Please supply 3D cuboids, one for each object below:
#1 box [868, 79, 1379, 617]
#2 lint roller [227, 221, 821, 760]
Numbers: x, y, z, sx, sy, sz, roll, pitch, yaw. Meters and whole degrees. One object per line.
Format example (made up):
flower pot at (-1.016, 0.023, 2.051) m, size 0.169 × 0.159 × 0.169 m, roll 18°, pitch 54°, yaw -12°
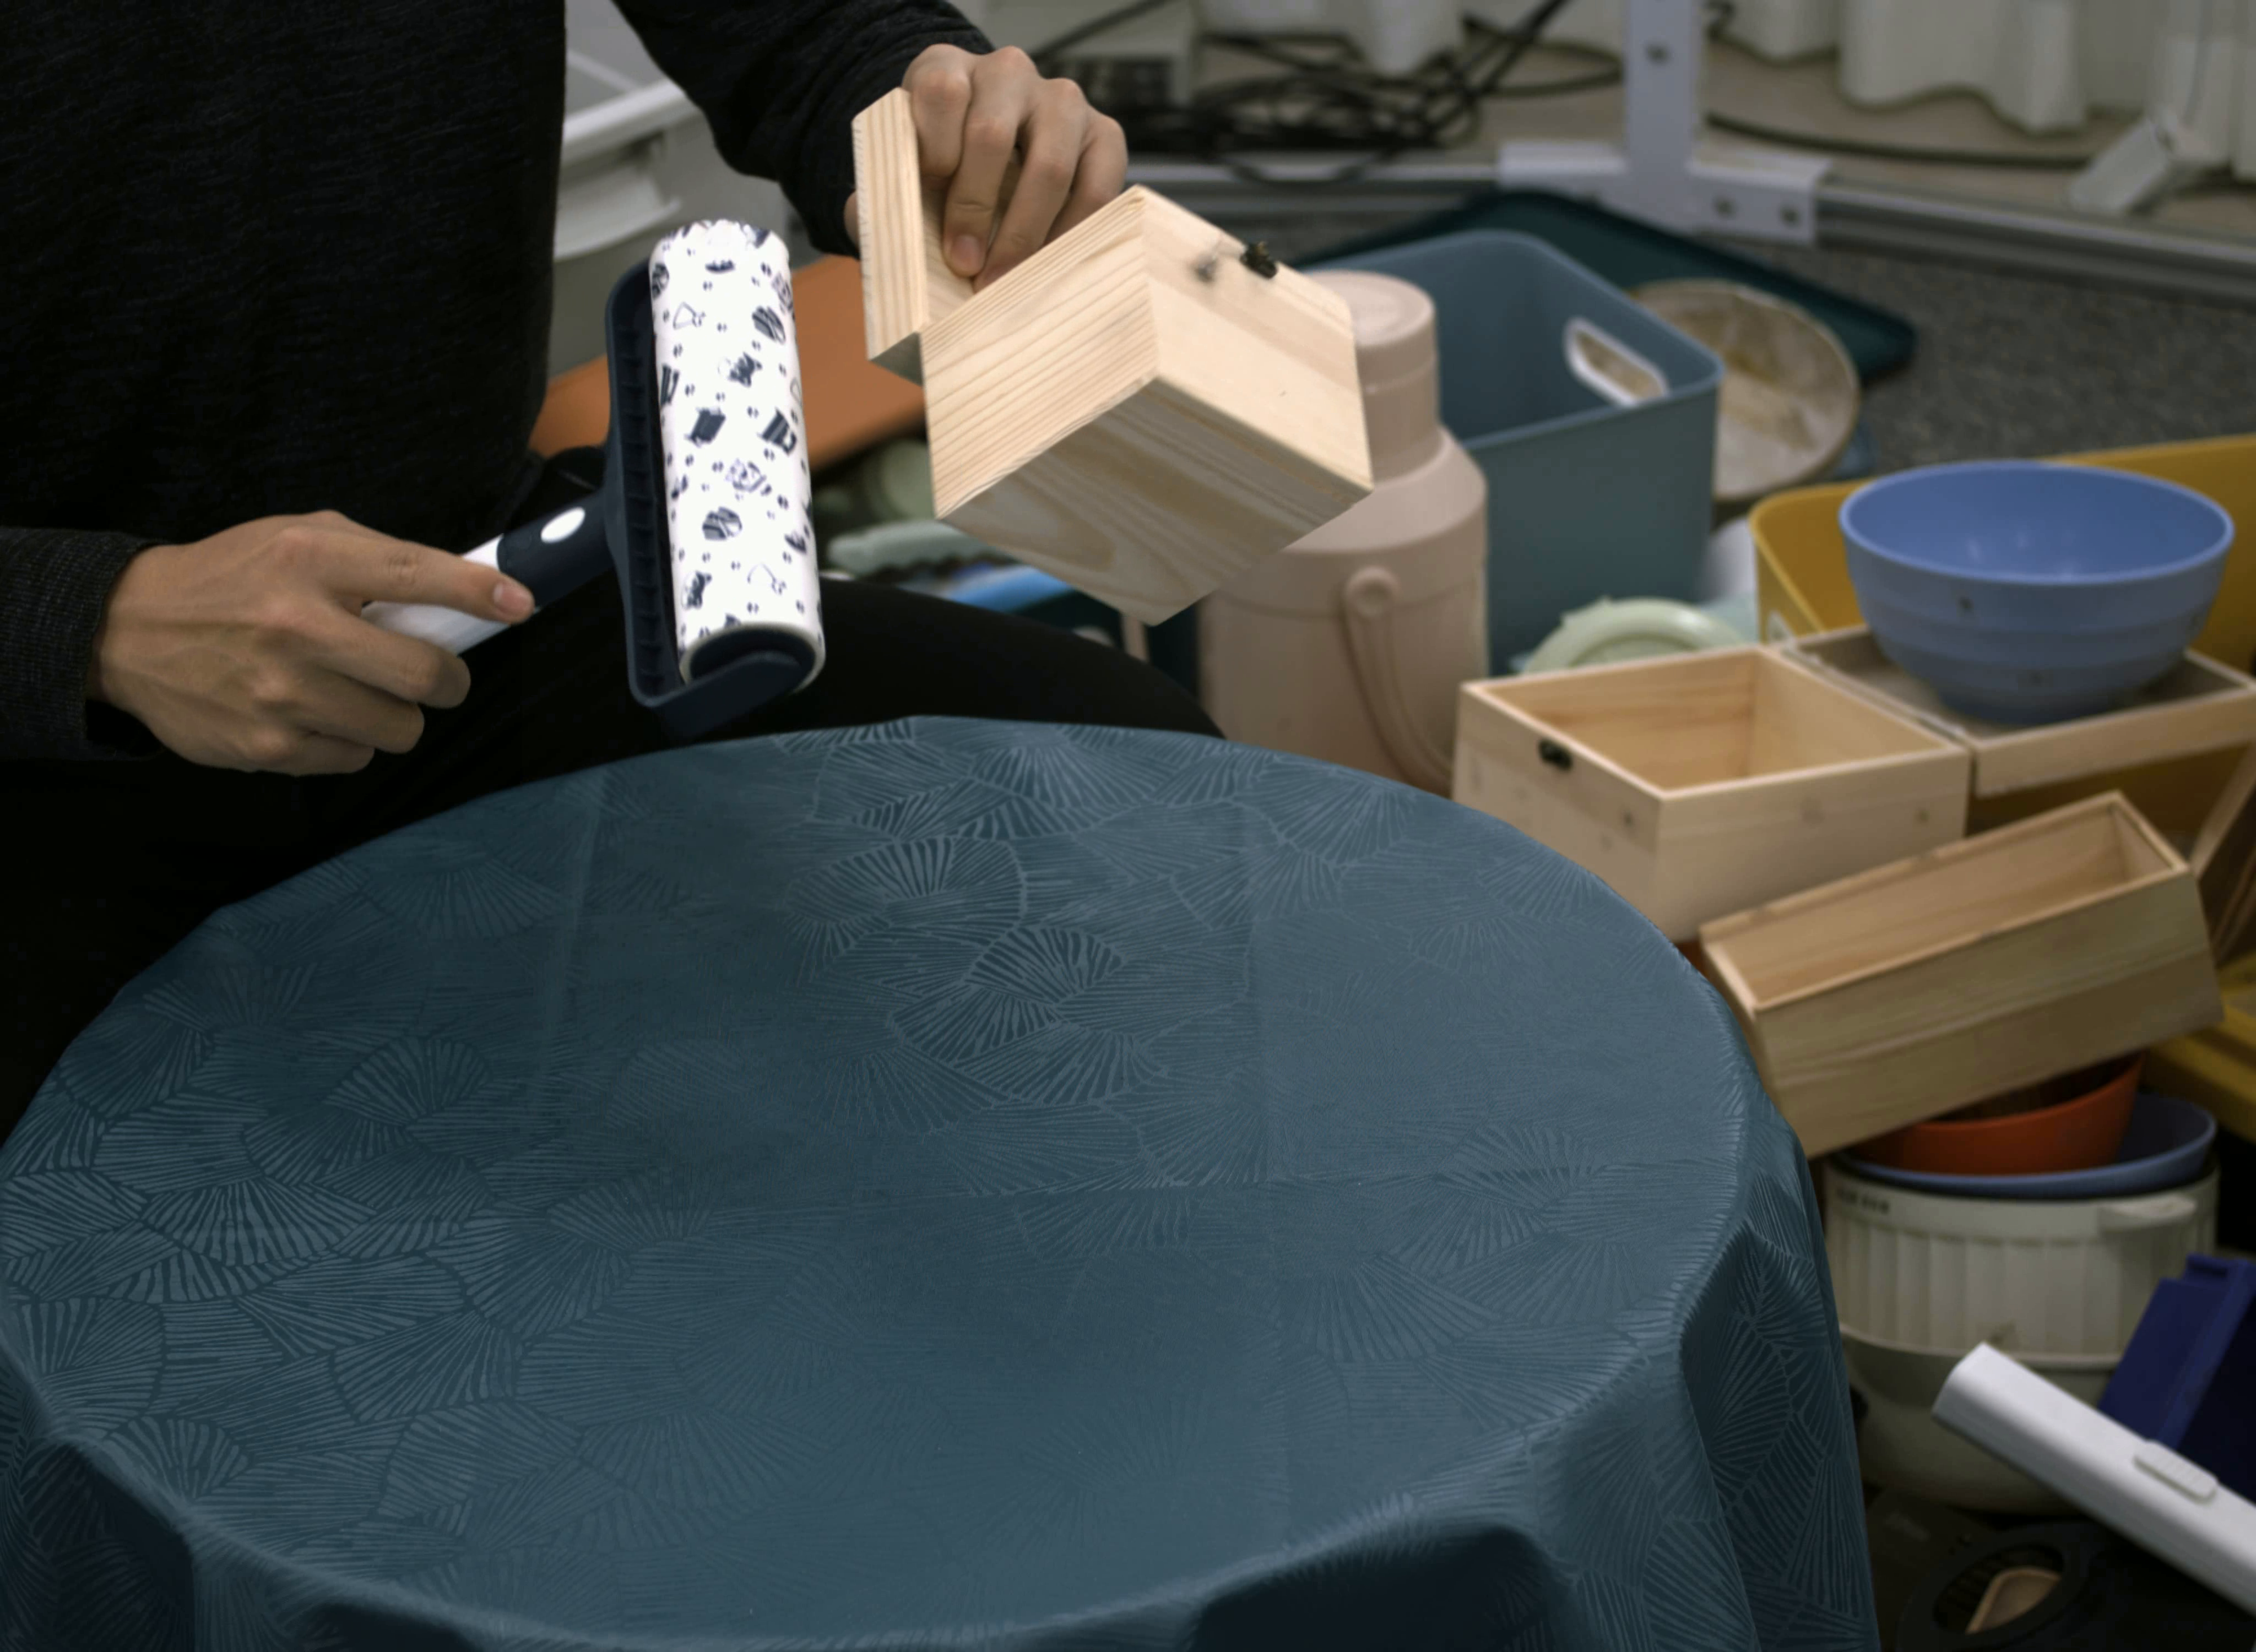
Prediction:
box at (-0.003, -0.179, 1.870) m, size 0.132 × 0.102 × 0.188 m, roll -32°, pitch 49°, yaw 33°
lint roller at (-0.210, -0.079, 1.872) m, size 0.244 × 0.050 × 0.179 m, roll -25°, pitch 54°, yaw 24°
